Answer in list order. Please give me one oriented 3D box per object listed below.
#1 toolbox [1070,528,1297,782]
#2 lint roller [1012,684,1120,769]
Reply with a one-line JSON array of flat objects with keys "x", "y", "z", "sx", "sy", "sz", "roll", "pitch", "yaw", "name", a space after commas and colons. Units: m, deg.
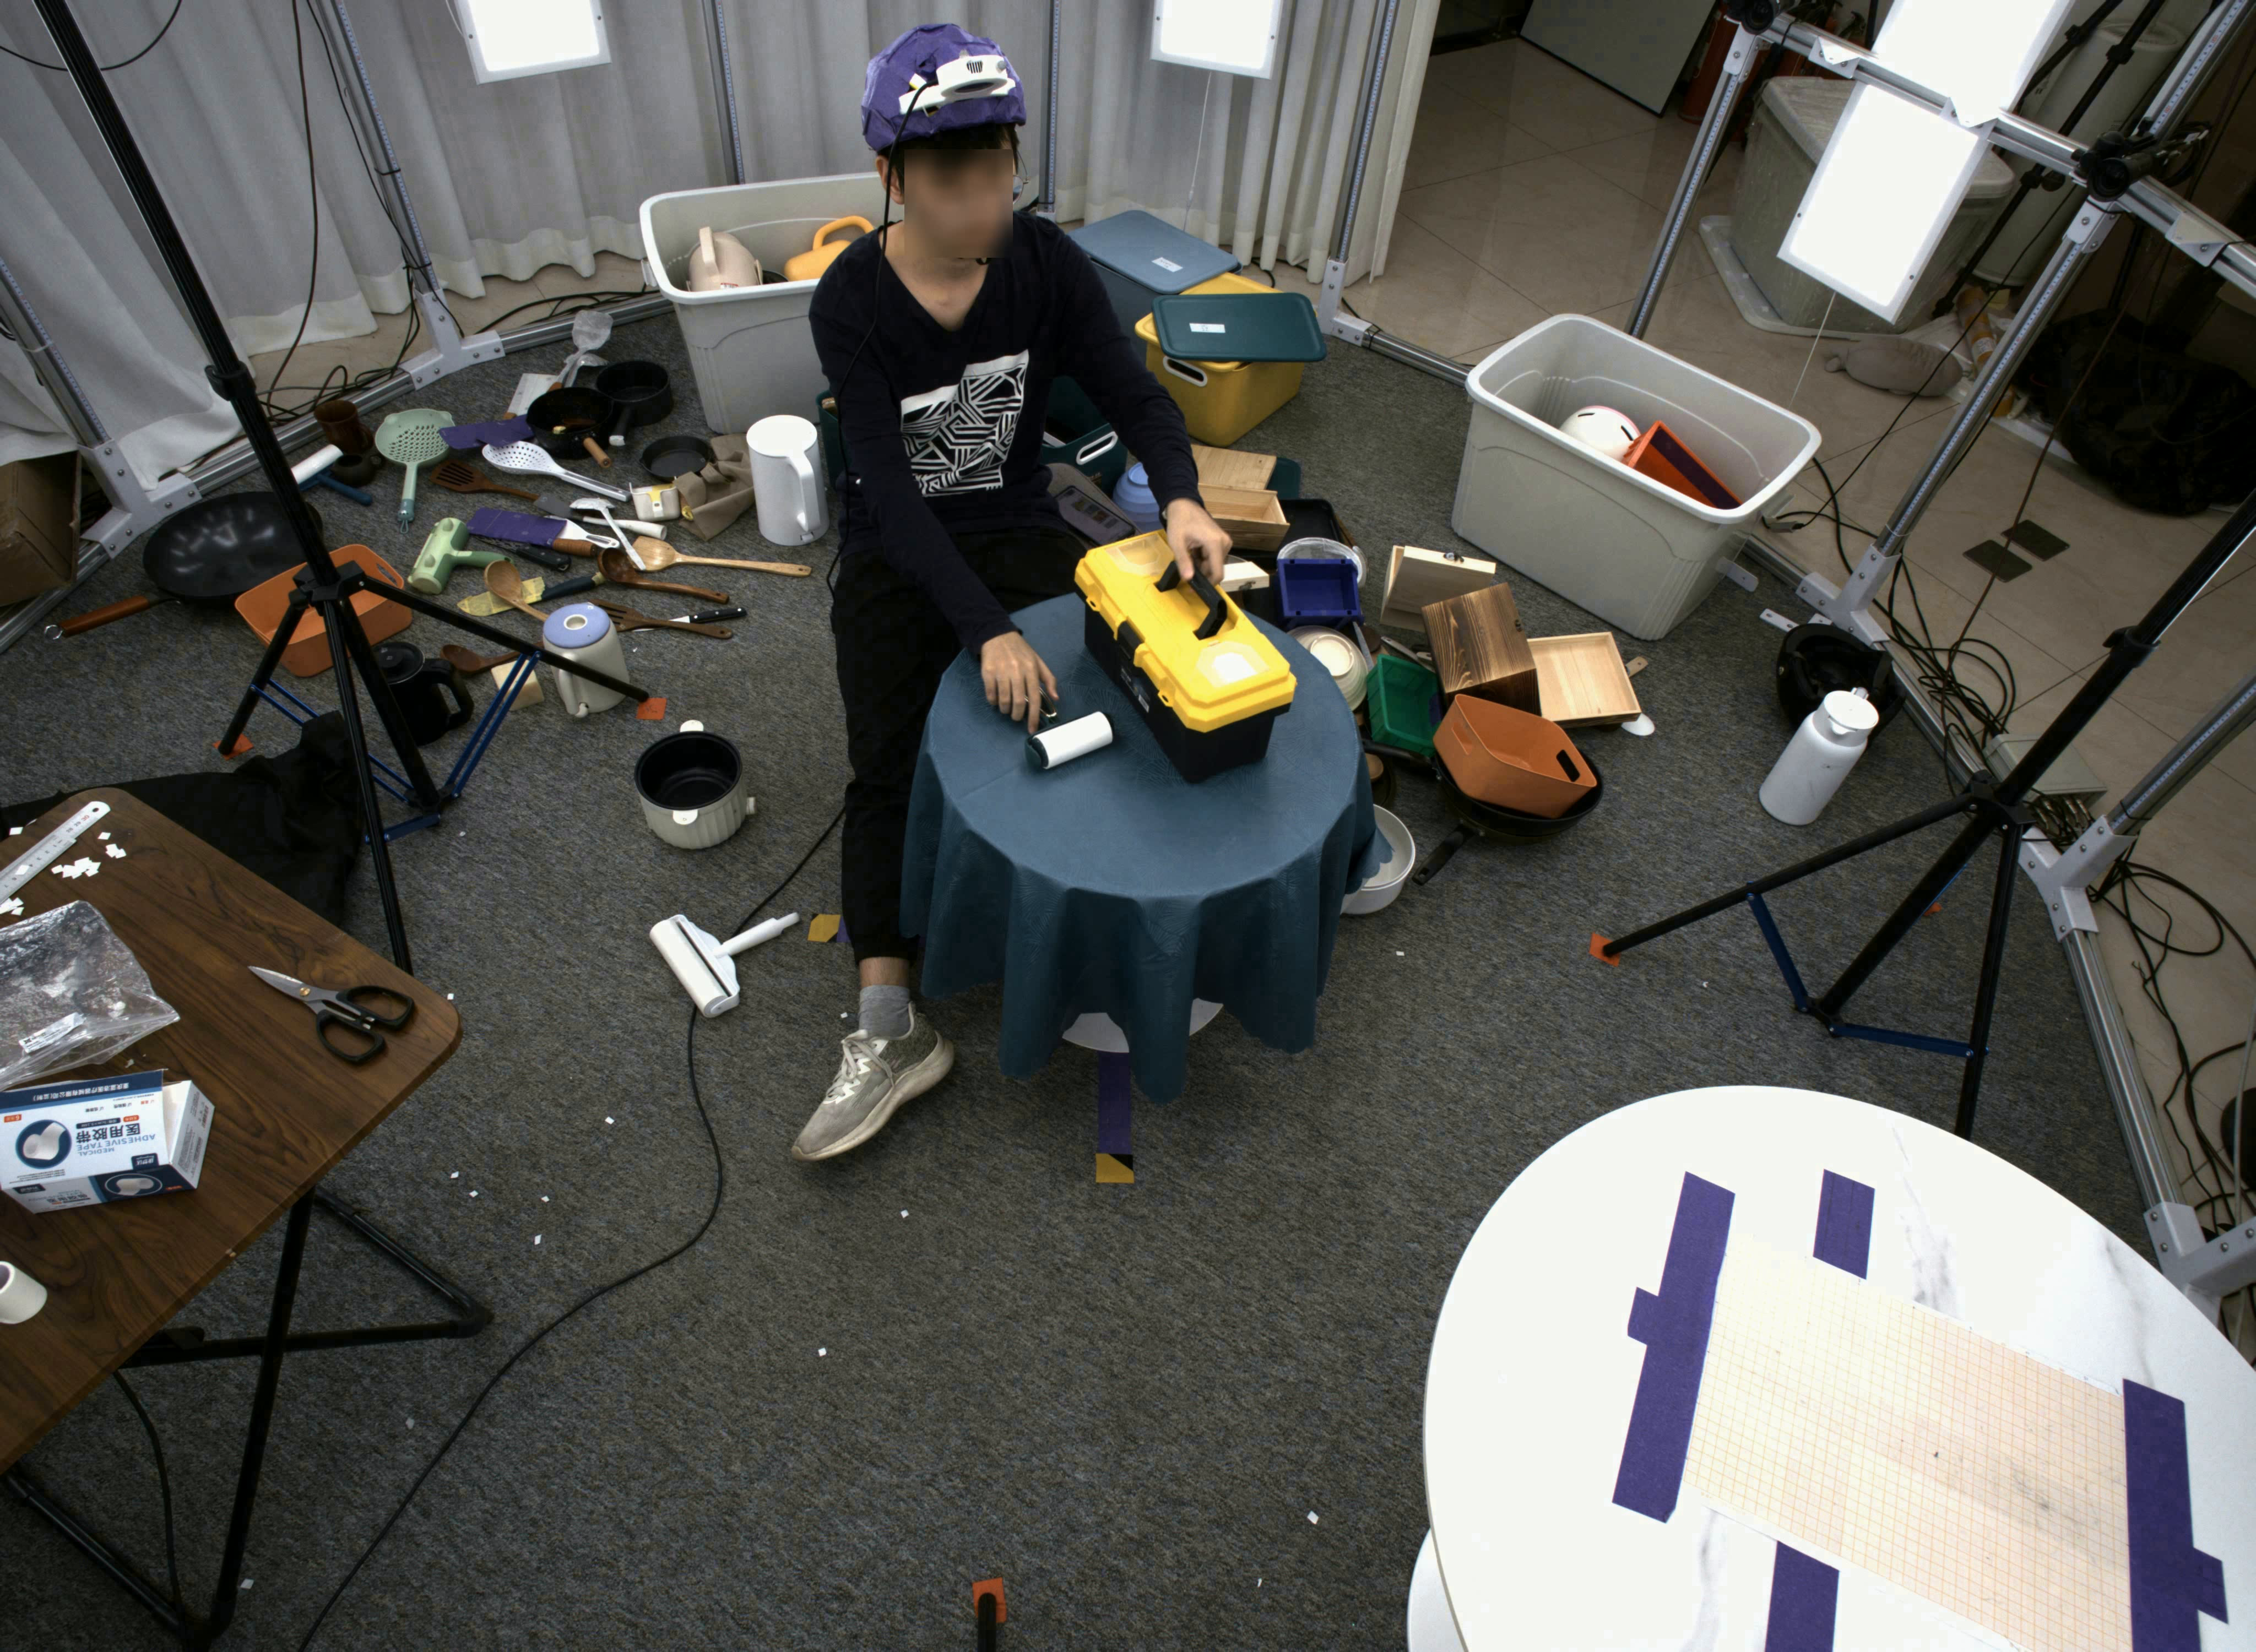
[{"x": 0.067, "y": -0.237, "z": 1.765, "sx": 0.182, "sy": 0.168, "sz": 0.359, "roll": -20, "pitch": 53, "yaw": -21, "name": "toolbox"}, {"x": -0.111, "y": -0.159, "z": 1.772, "sx": 0.135, "sy": 0.047, "sz": 0.184, "roll": -24, "pitch": 51, "yaw": -21, "name": "lint roller"}]
